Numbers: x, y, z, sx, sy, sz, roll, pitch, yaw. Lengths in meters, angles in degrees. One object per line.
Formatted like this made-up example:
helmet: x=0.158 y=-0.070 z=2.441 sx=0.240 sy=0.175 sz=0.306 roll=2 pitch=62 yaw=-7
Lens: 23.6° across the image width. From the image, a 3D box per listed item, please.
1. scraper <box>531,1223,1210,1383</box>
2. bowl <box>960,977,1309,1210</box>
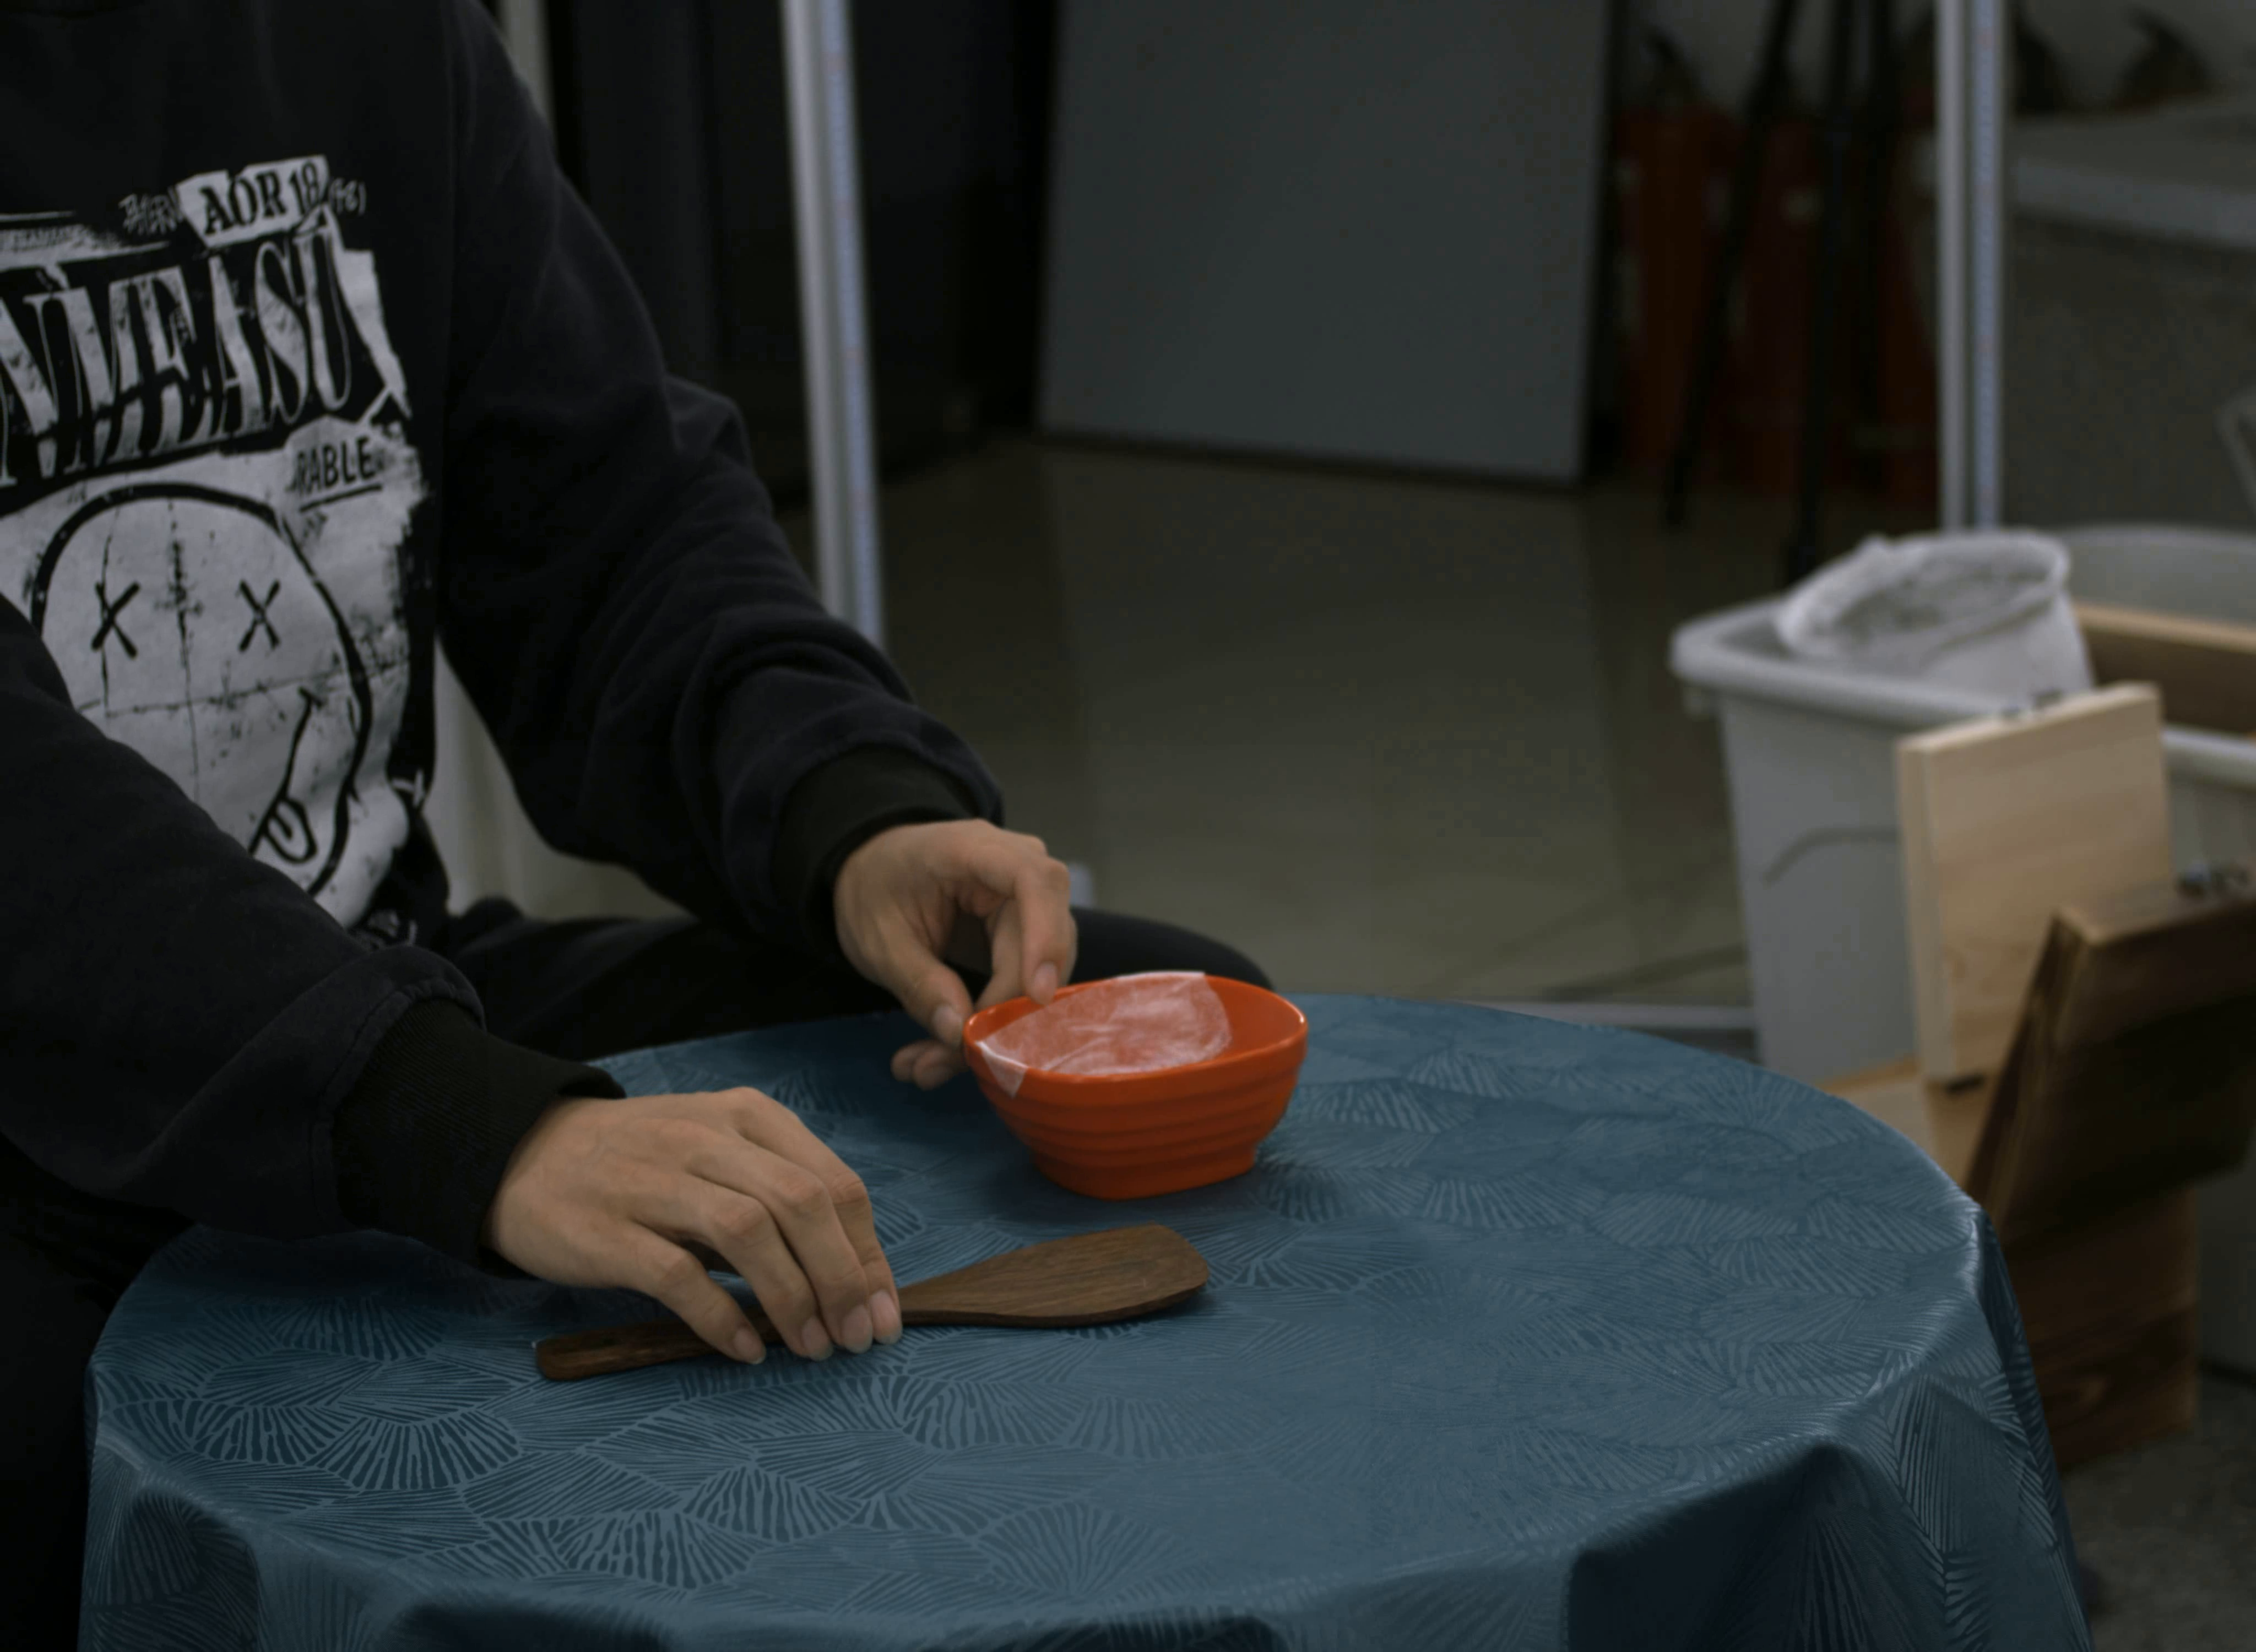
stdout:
scraper: x=-0.079 y=0.150 z=1.660 sx=0.207 sy=0.011 sz=0.076 roll=-8 pitch=14 yaw=-12
bowl: x=0.004 y=0.091 z=1.791 sx=0.117 sy=0.052 sz=0.119 roll=-4 pitch=15 yaw=0
